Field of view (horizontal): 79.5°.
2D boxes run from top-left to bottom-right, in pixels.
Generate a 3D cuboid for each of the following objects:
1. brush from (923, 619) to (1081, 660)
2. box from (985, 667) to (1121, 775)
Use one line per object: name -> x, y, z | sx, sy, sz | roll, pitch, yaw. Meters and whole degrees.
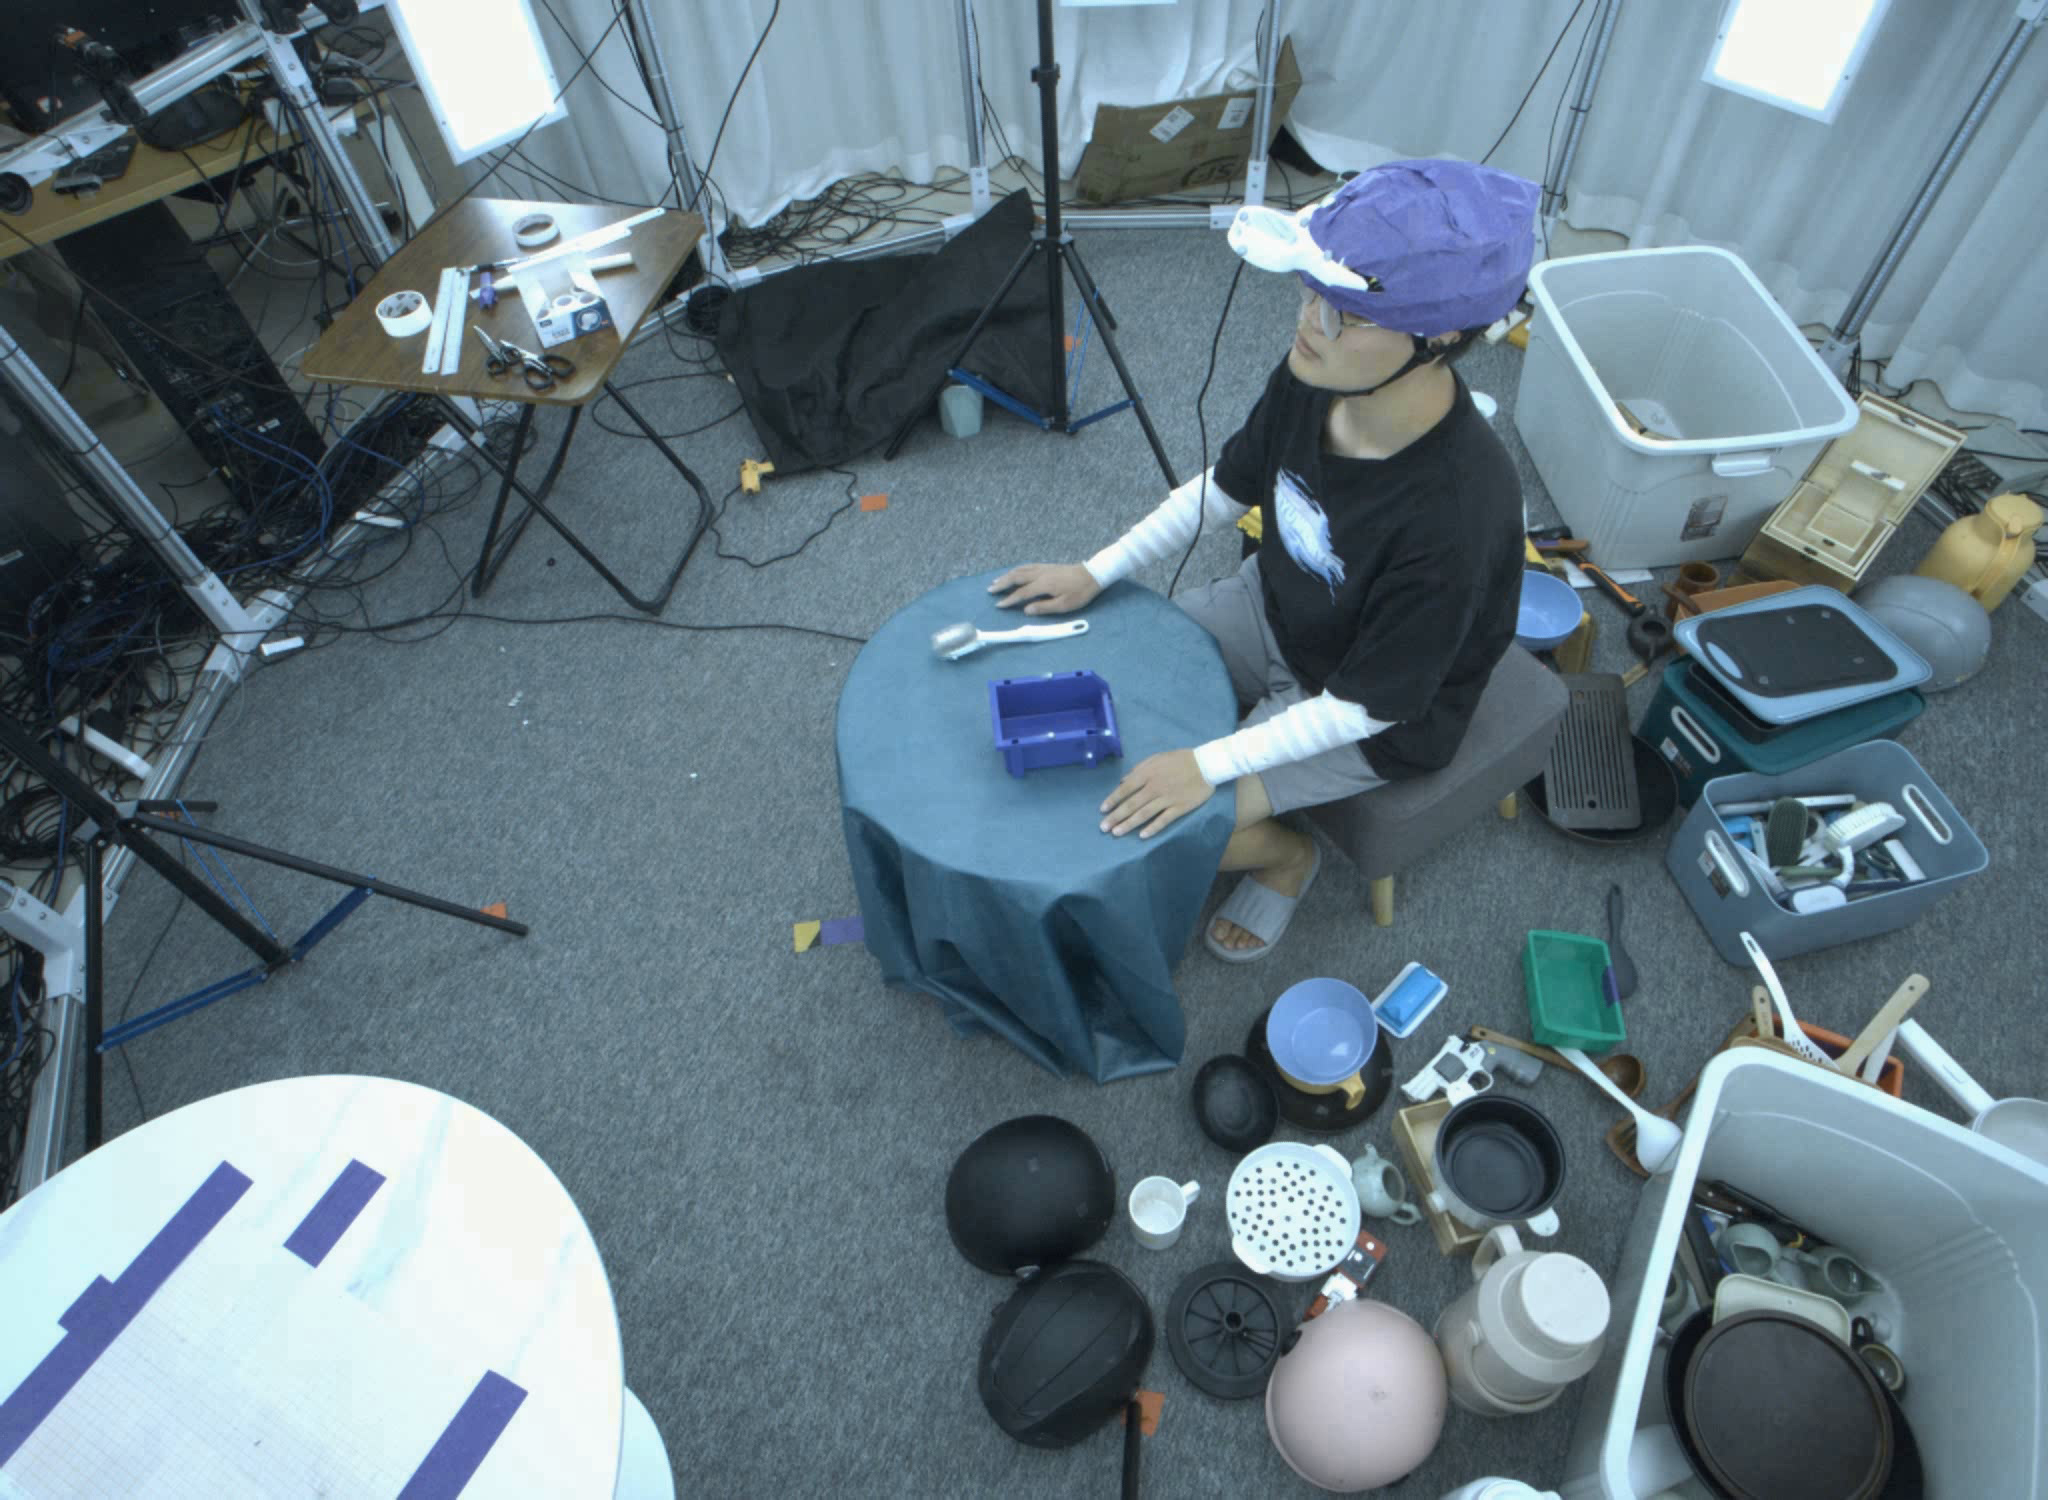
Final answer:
brush -> -0.033, -0.184, 1.880 | 0.244, 0.051, 0.034 | -11, 54, -5
box -> 0.041, -0.044, 1.759 | 0.179, 0.083, 0.123 | -7, 54, -1
